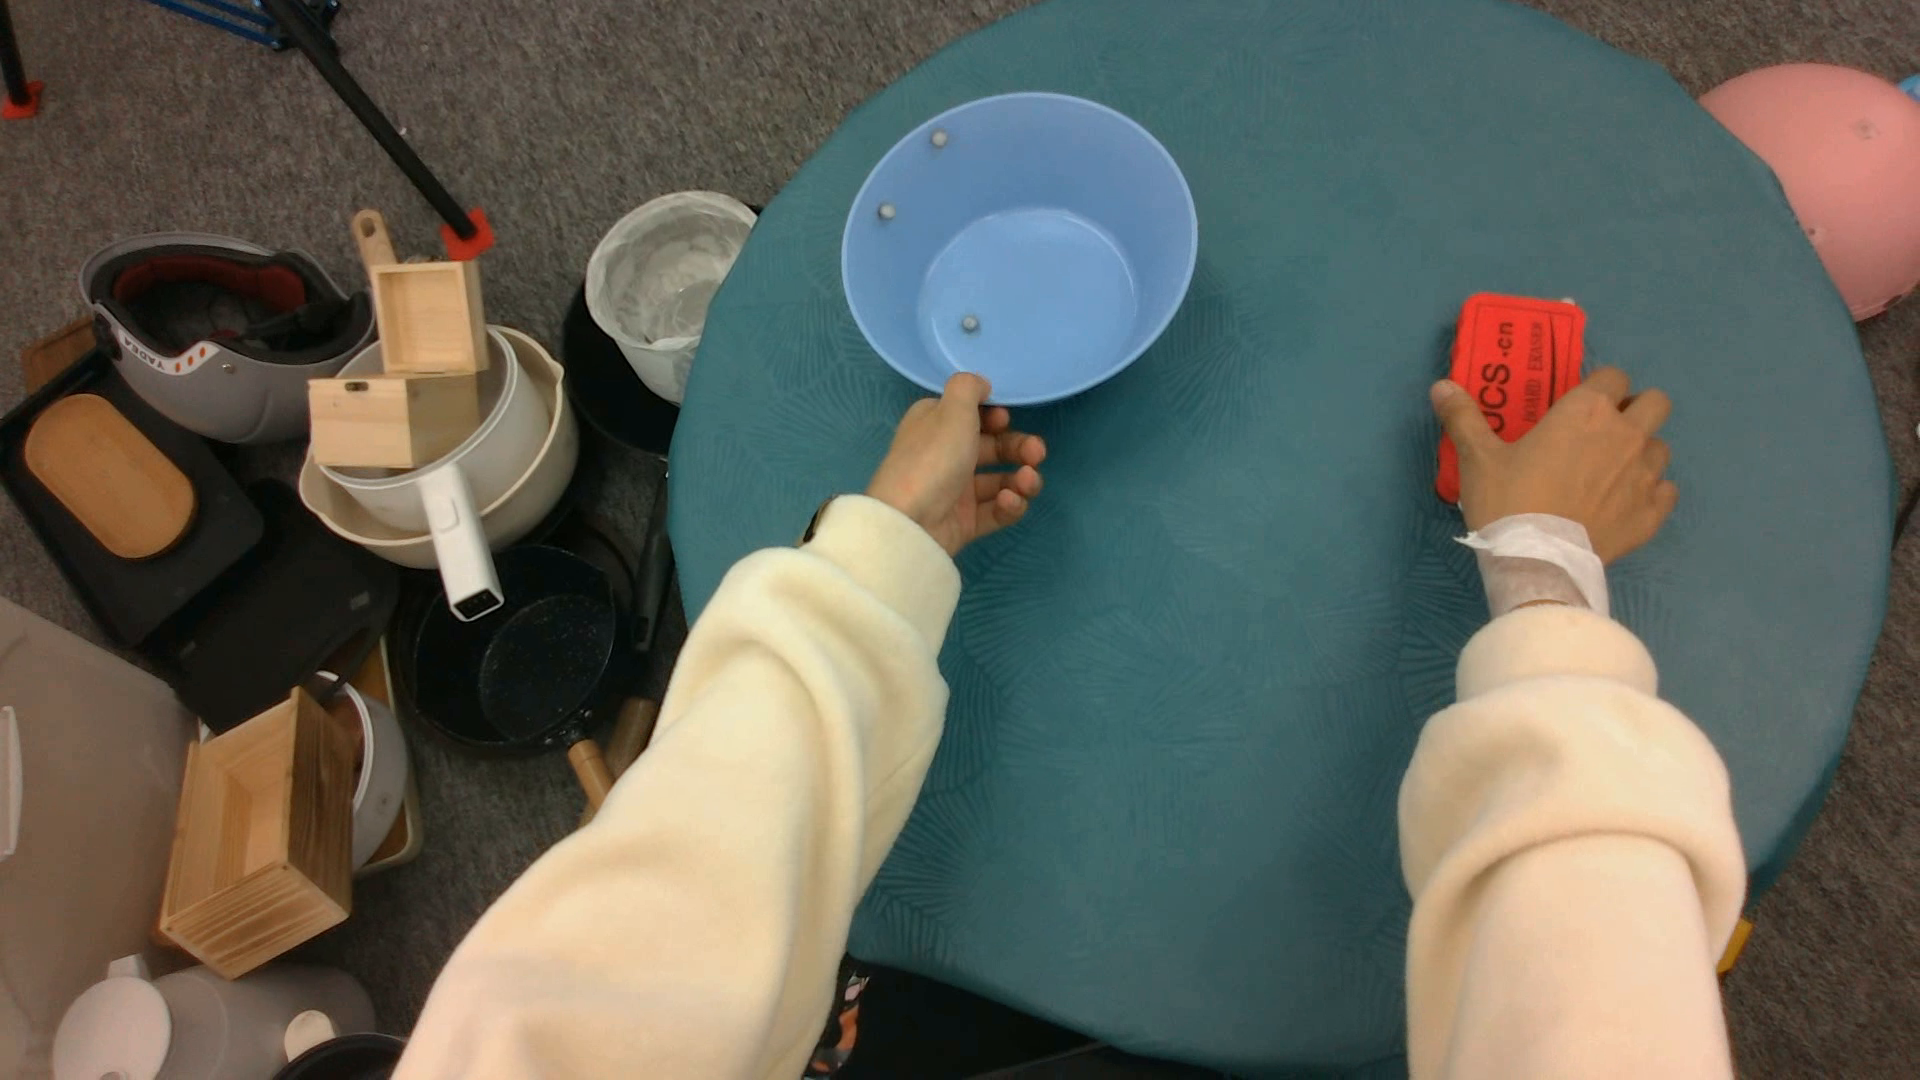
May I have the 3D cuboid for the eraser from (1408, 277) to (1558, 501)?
[{"bbox_3d":[0.256,-0.075,0.674,0.059,0.023,0.108,11,72,9],"label":"eraser"}]

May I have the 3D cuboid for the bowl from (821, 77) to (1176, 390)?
[{"bbox_3d":[0.021,-0.144,0.703,0.176,0.070,0.176,-2,69,6],"label":"bowl"}]
